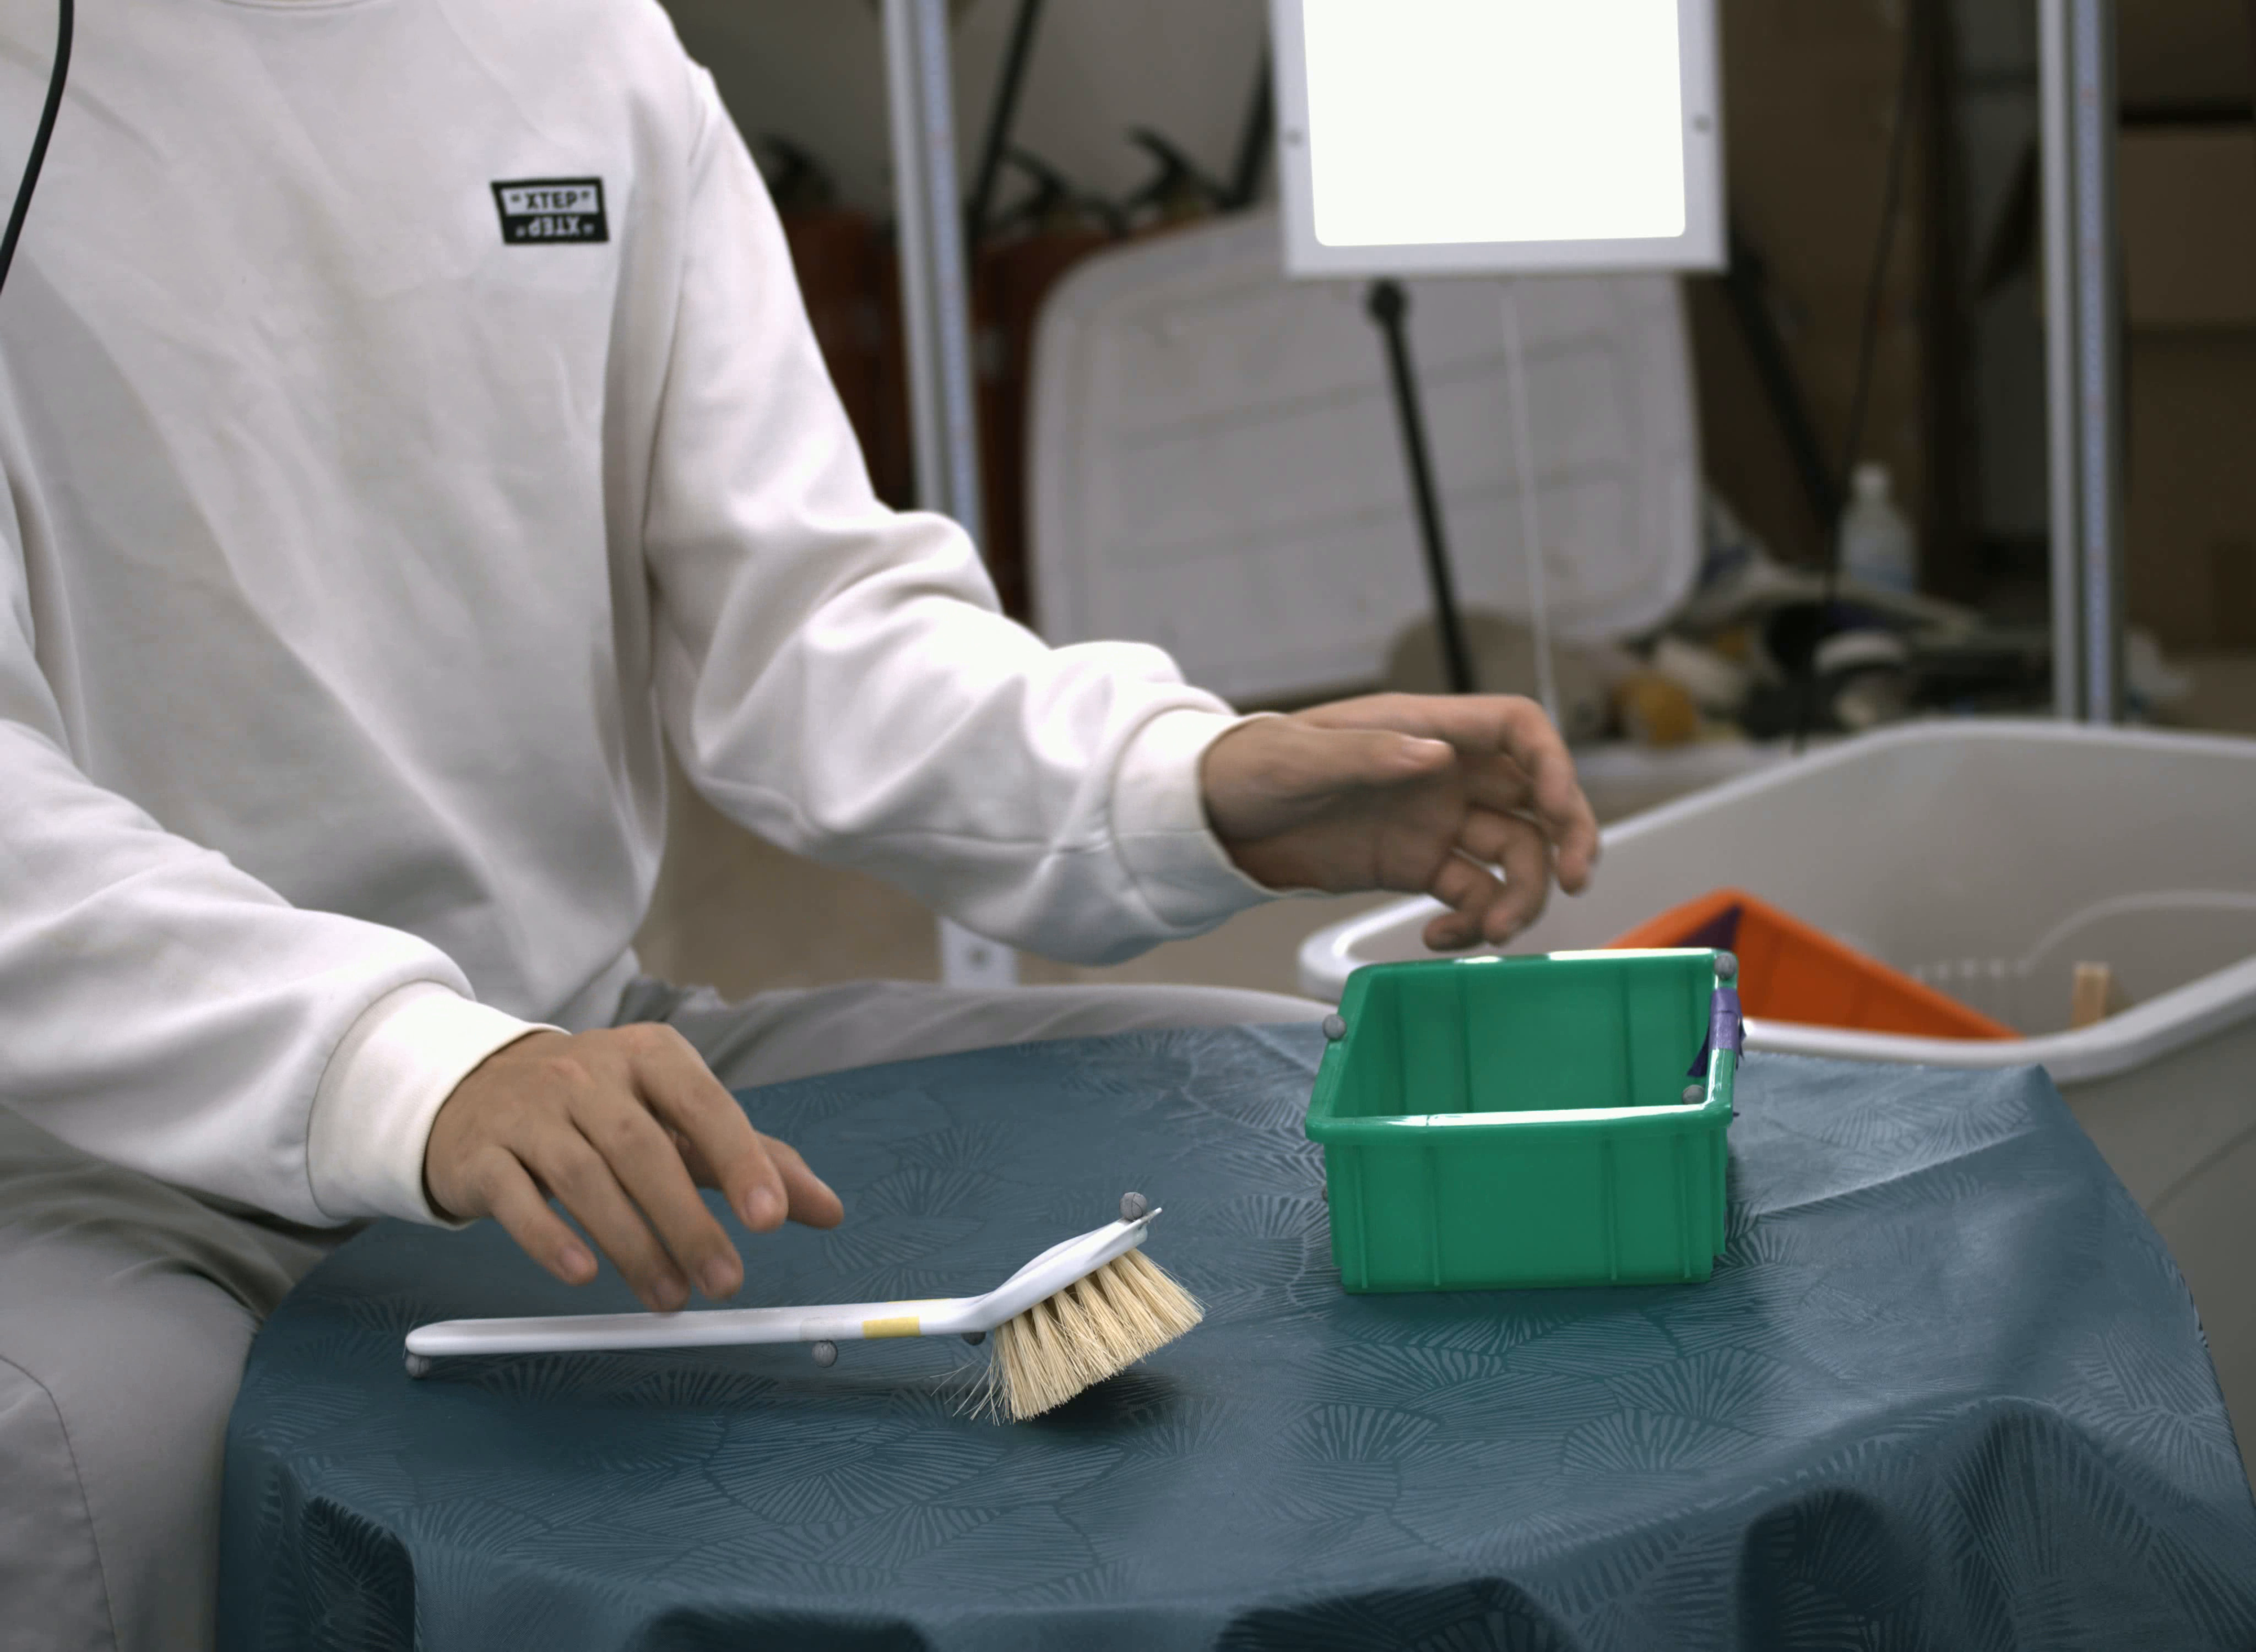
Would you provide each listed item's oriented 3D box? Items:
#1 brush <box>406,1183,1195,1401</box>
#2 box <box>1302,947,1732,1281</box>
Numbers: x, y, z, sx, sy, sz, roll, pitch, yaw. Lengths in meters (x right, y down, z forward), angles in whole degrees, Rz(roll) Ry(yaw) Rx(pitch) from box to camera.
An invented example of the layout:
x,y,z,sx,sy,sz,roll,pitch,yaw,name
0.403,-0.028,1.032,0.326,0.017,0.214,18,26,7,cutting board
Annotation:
x,y,z,sx,sy,sz,roll,pitch,yaw,name
-0.103,0.167,1.732,0.270,0.056,0.067,-15,-6,21,brush
0.136,0.096,1.842,0.139,0.065,0.209,-3,11,8,box
